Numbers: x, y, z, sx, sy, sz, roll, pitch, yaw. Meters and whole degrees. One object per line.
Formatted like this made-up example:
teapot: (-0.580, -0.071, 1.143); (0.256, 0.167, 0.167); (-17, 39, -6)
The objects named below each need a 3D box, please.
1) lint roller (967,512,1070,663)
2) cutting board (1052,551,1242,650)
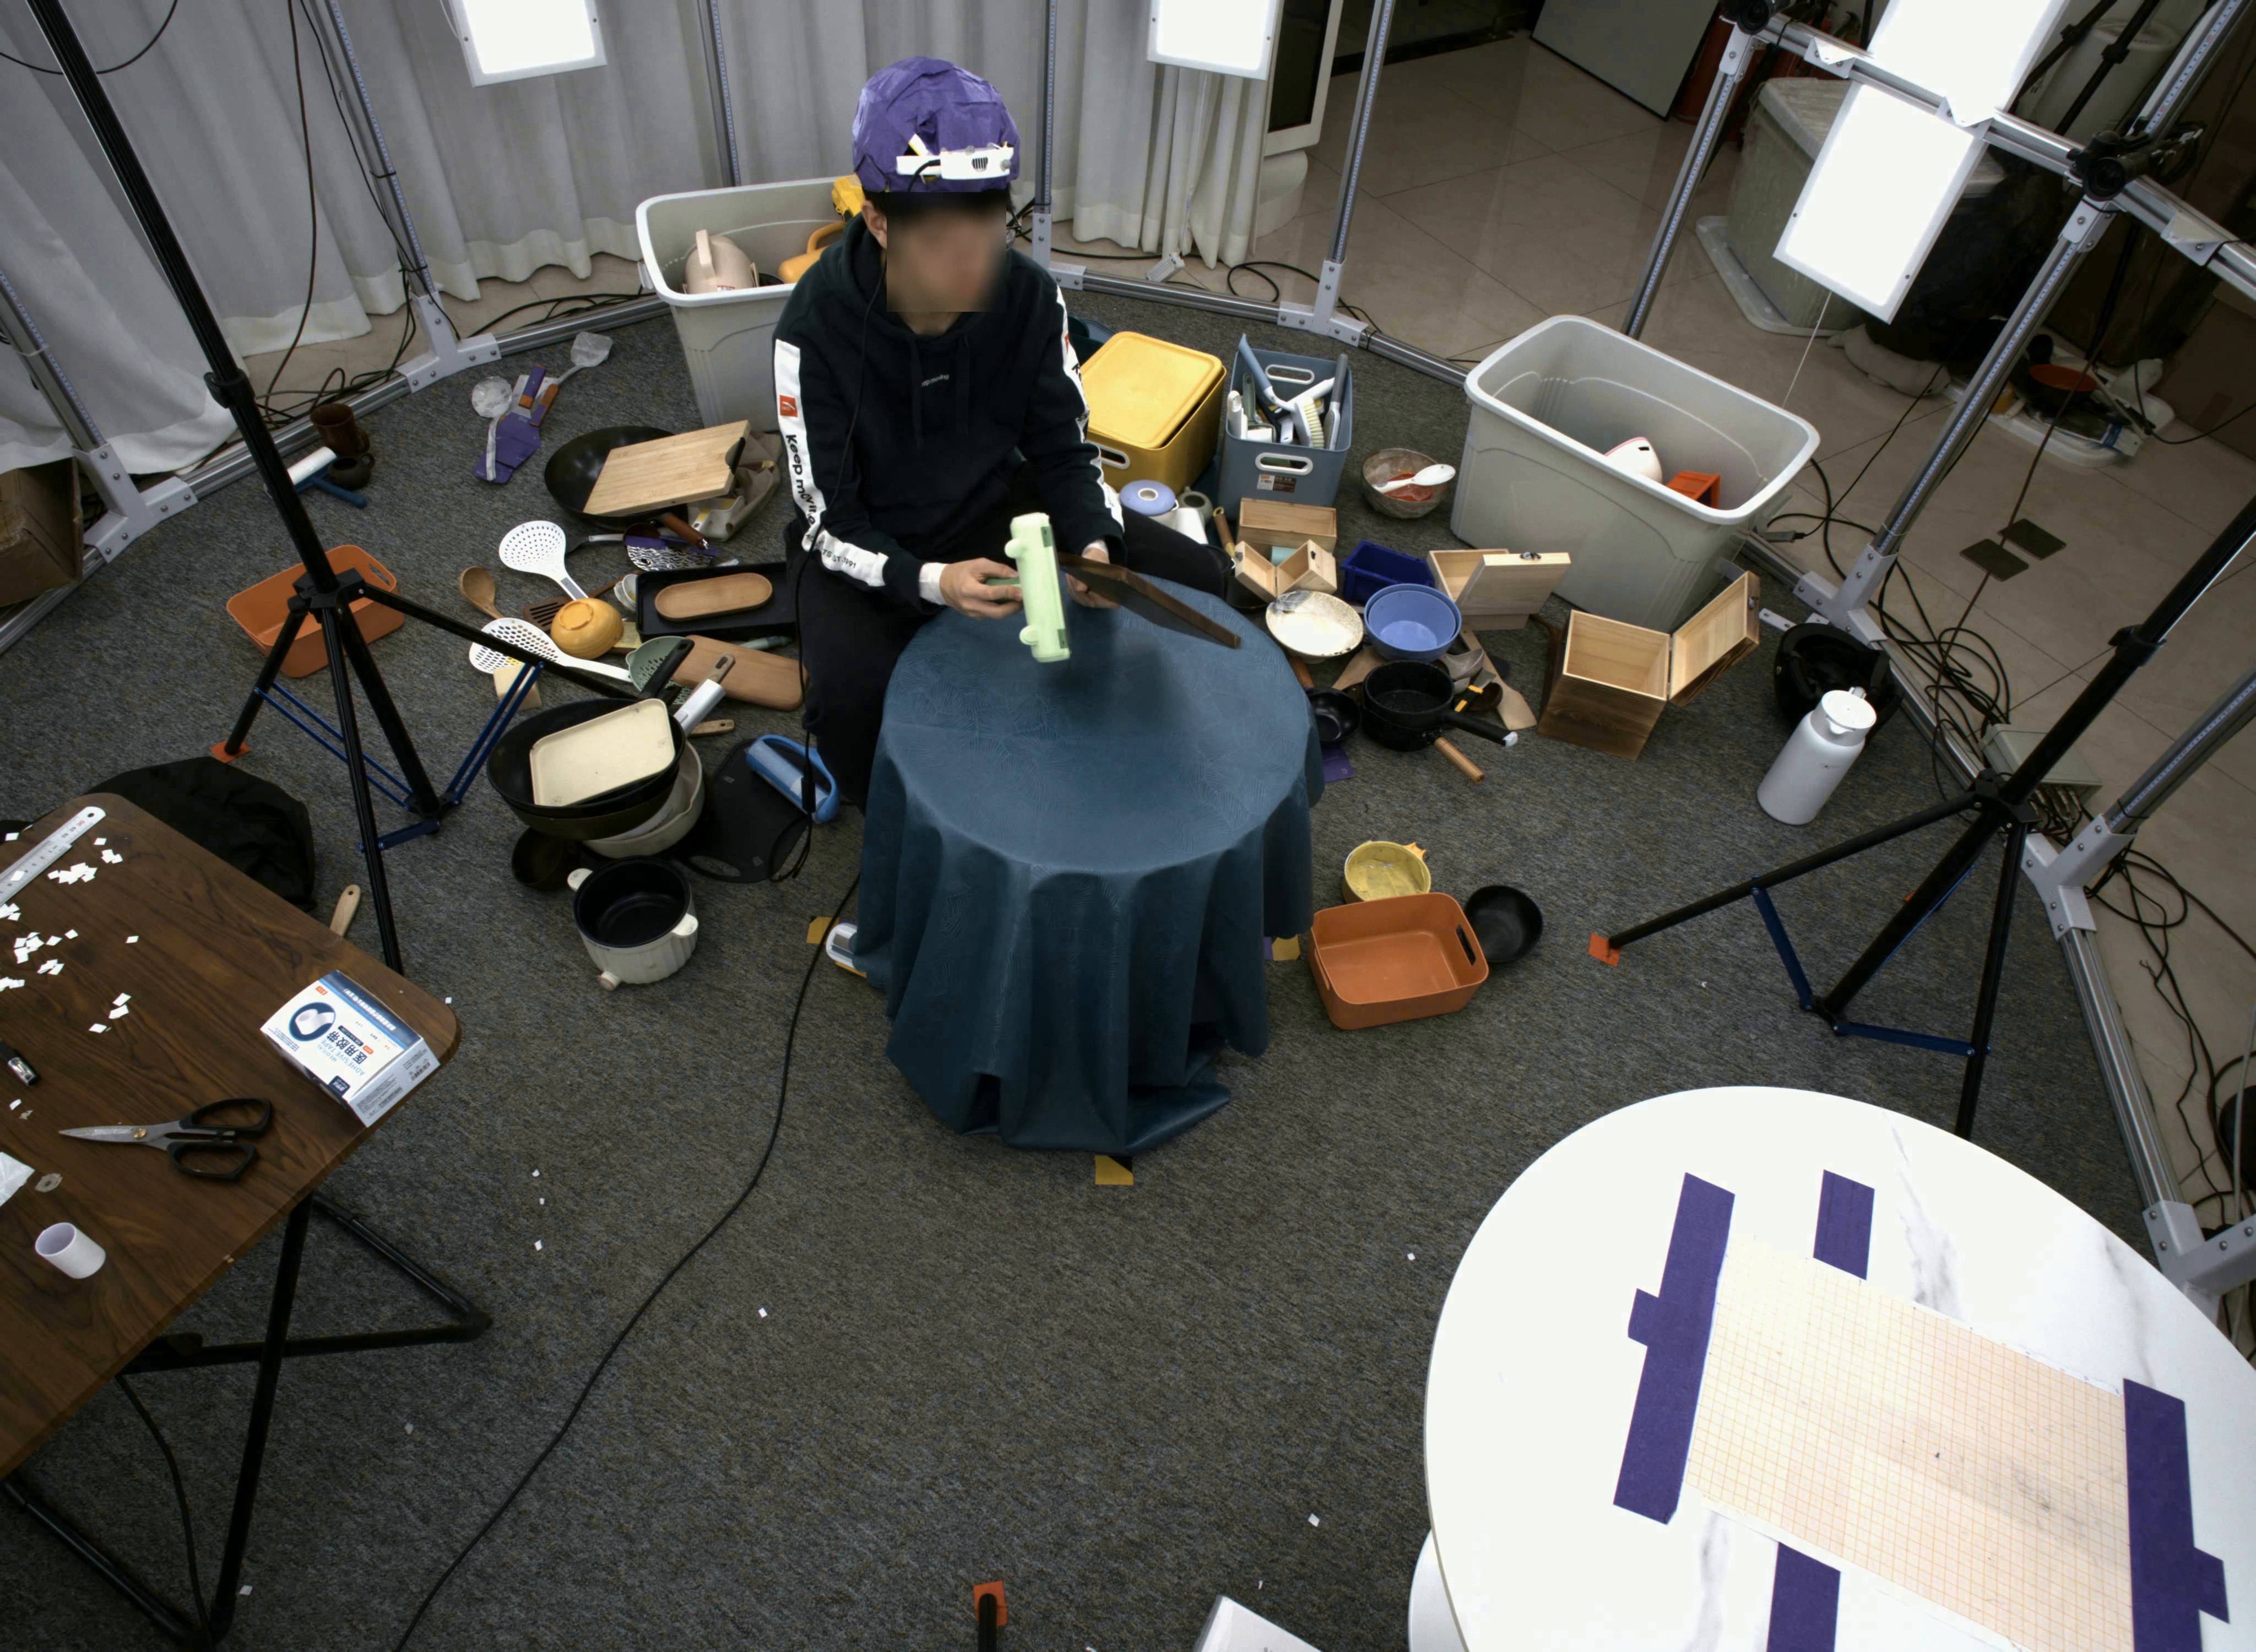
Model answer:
lint roller: (-0.167, -0.319, 1.752); (0.184, 0.196, 0.083); (2, 18, 35)
cutting board: (0.000, -0.319, 1.778); (0.198, 0.023, 0.357); (26, 3, -28)
